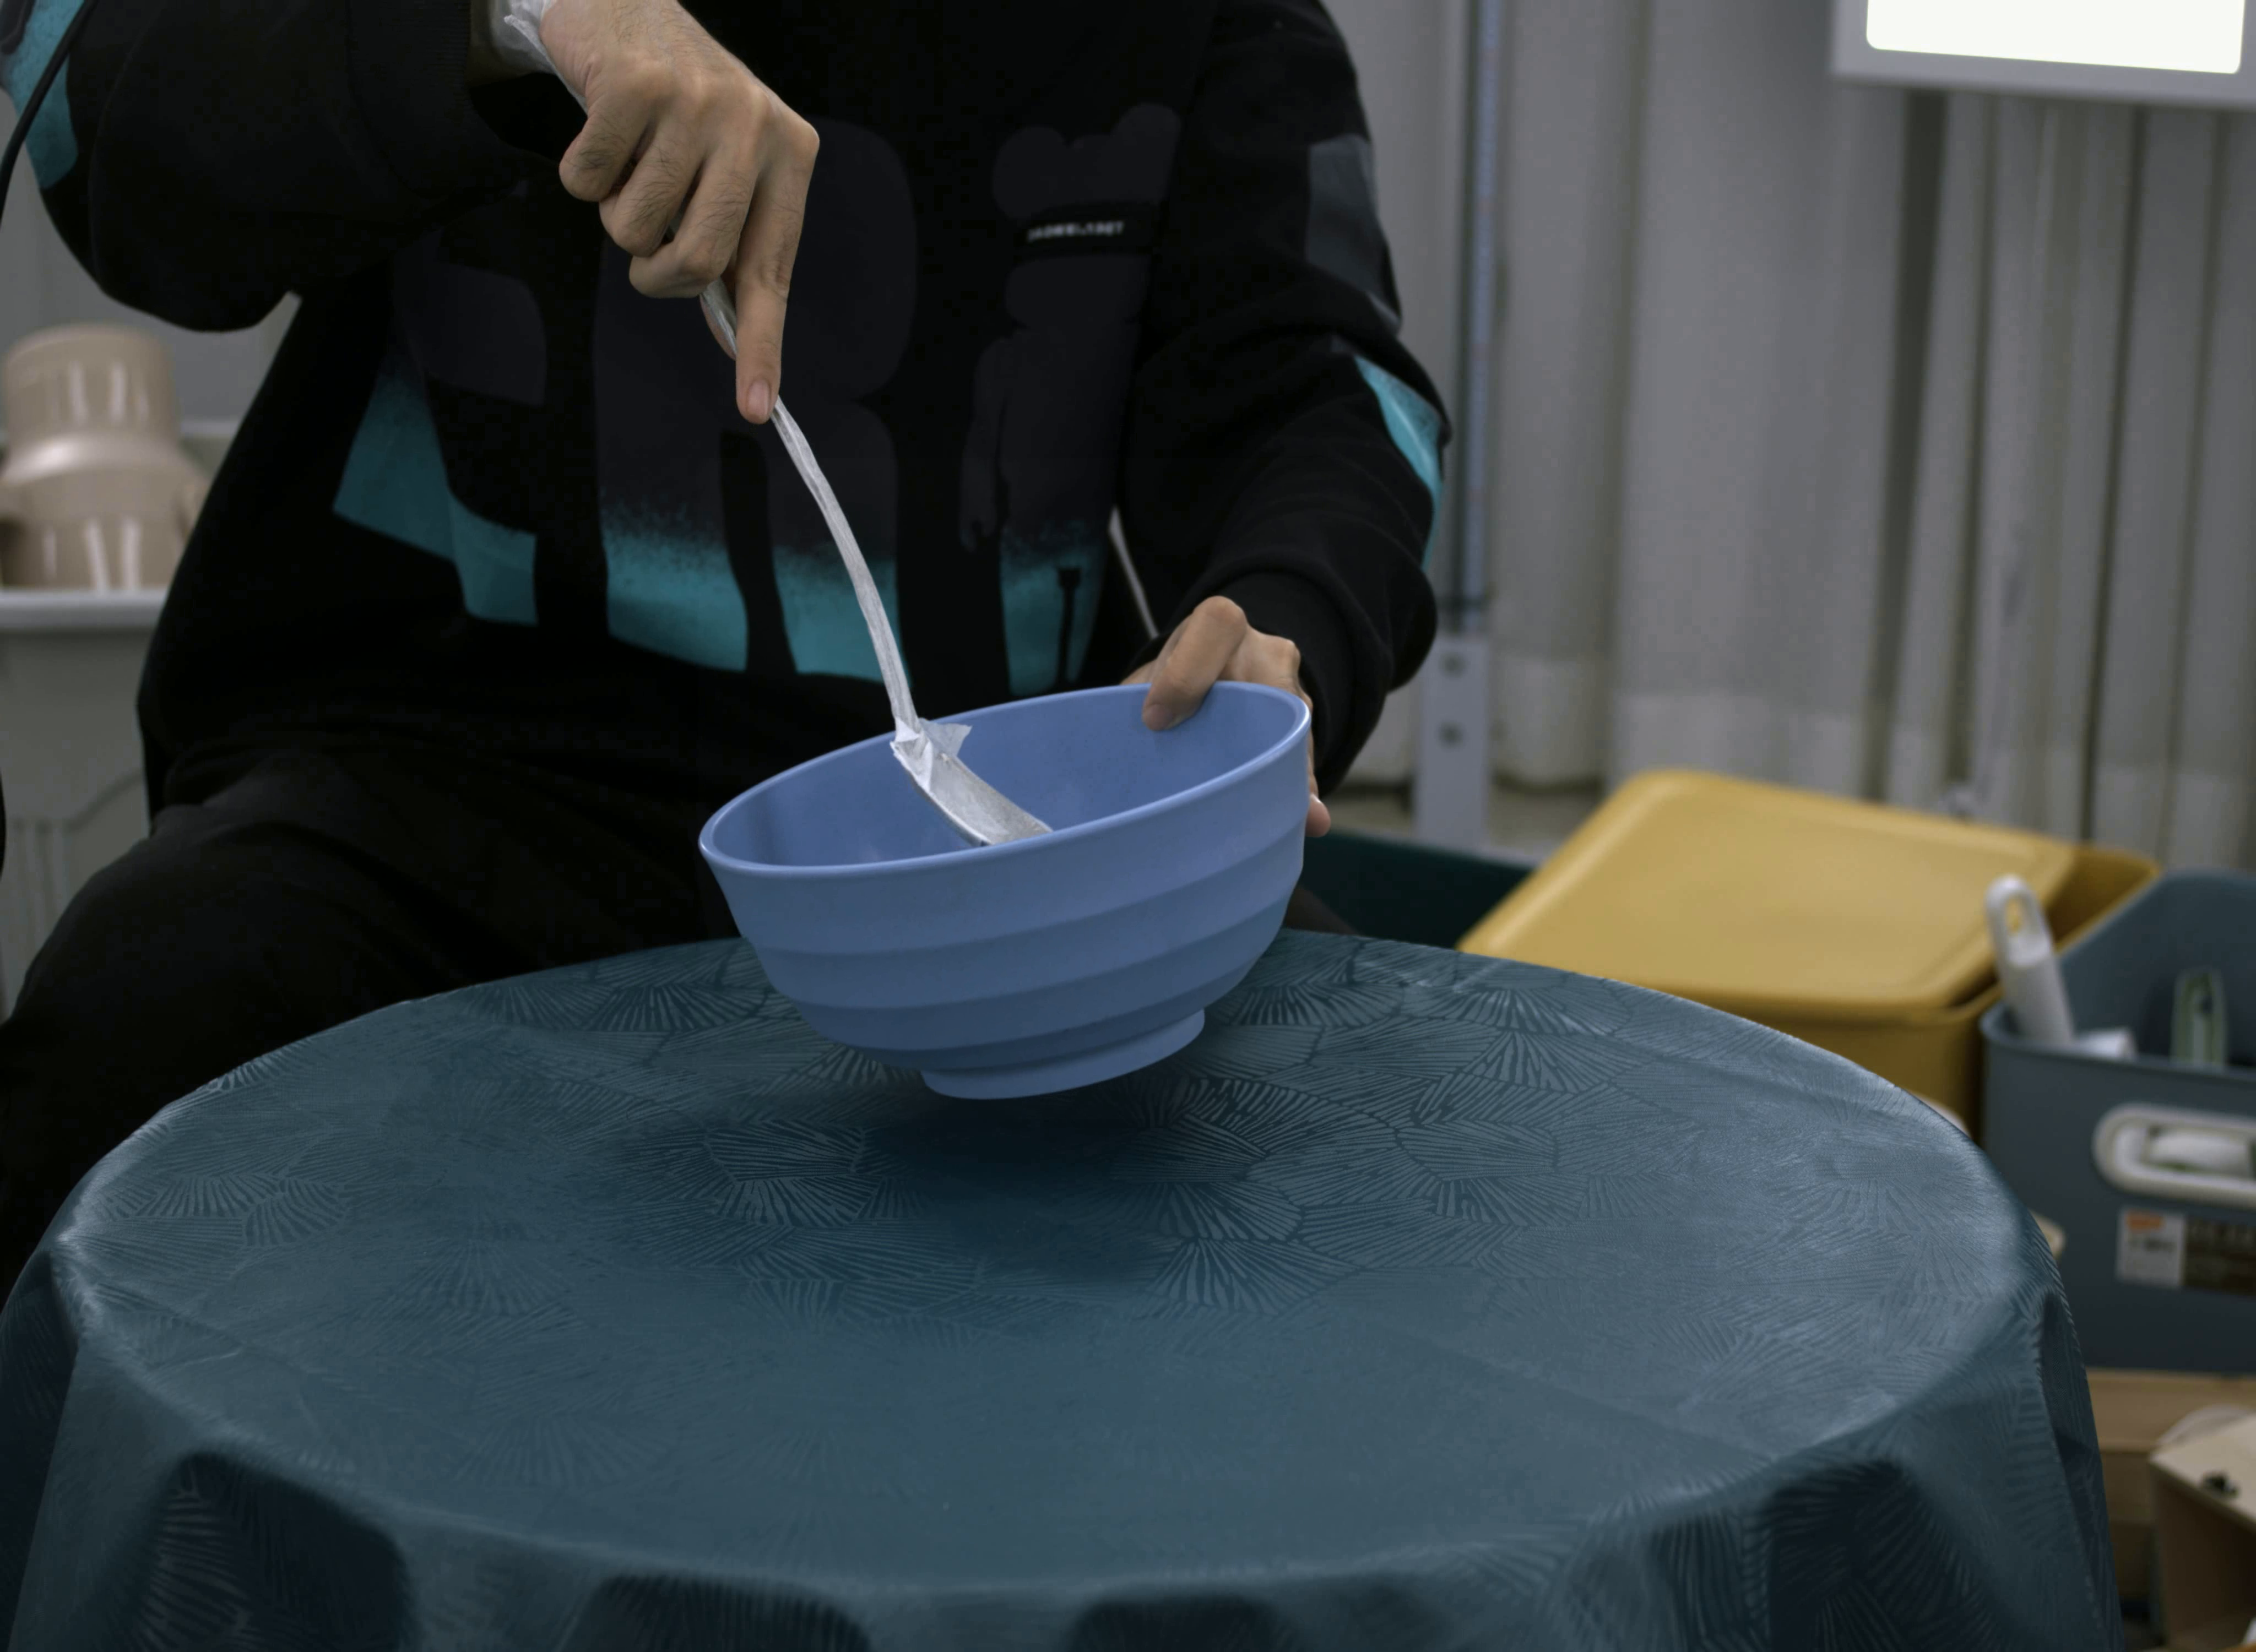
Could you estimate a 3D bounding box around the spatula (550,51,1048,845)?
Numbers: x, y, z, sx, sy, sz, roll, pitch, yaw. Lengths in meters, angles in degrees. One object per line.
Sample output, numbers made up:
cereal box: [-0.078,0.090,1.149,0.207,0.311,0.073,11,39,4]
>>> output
spatula: [-0.092,-0.109,1.669,0.044,0.363,0.099,-31,-12,16]

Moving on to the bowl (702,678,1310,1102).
bowl: [-0.029,0.027,1.664,0.196,0.096,0.195,-12,14,4]
